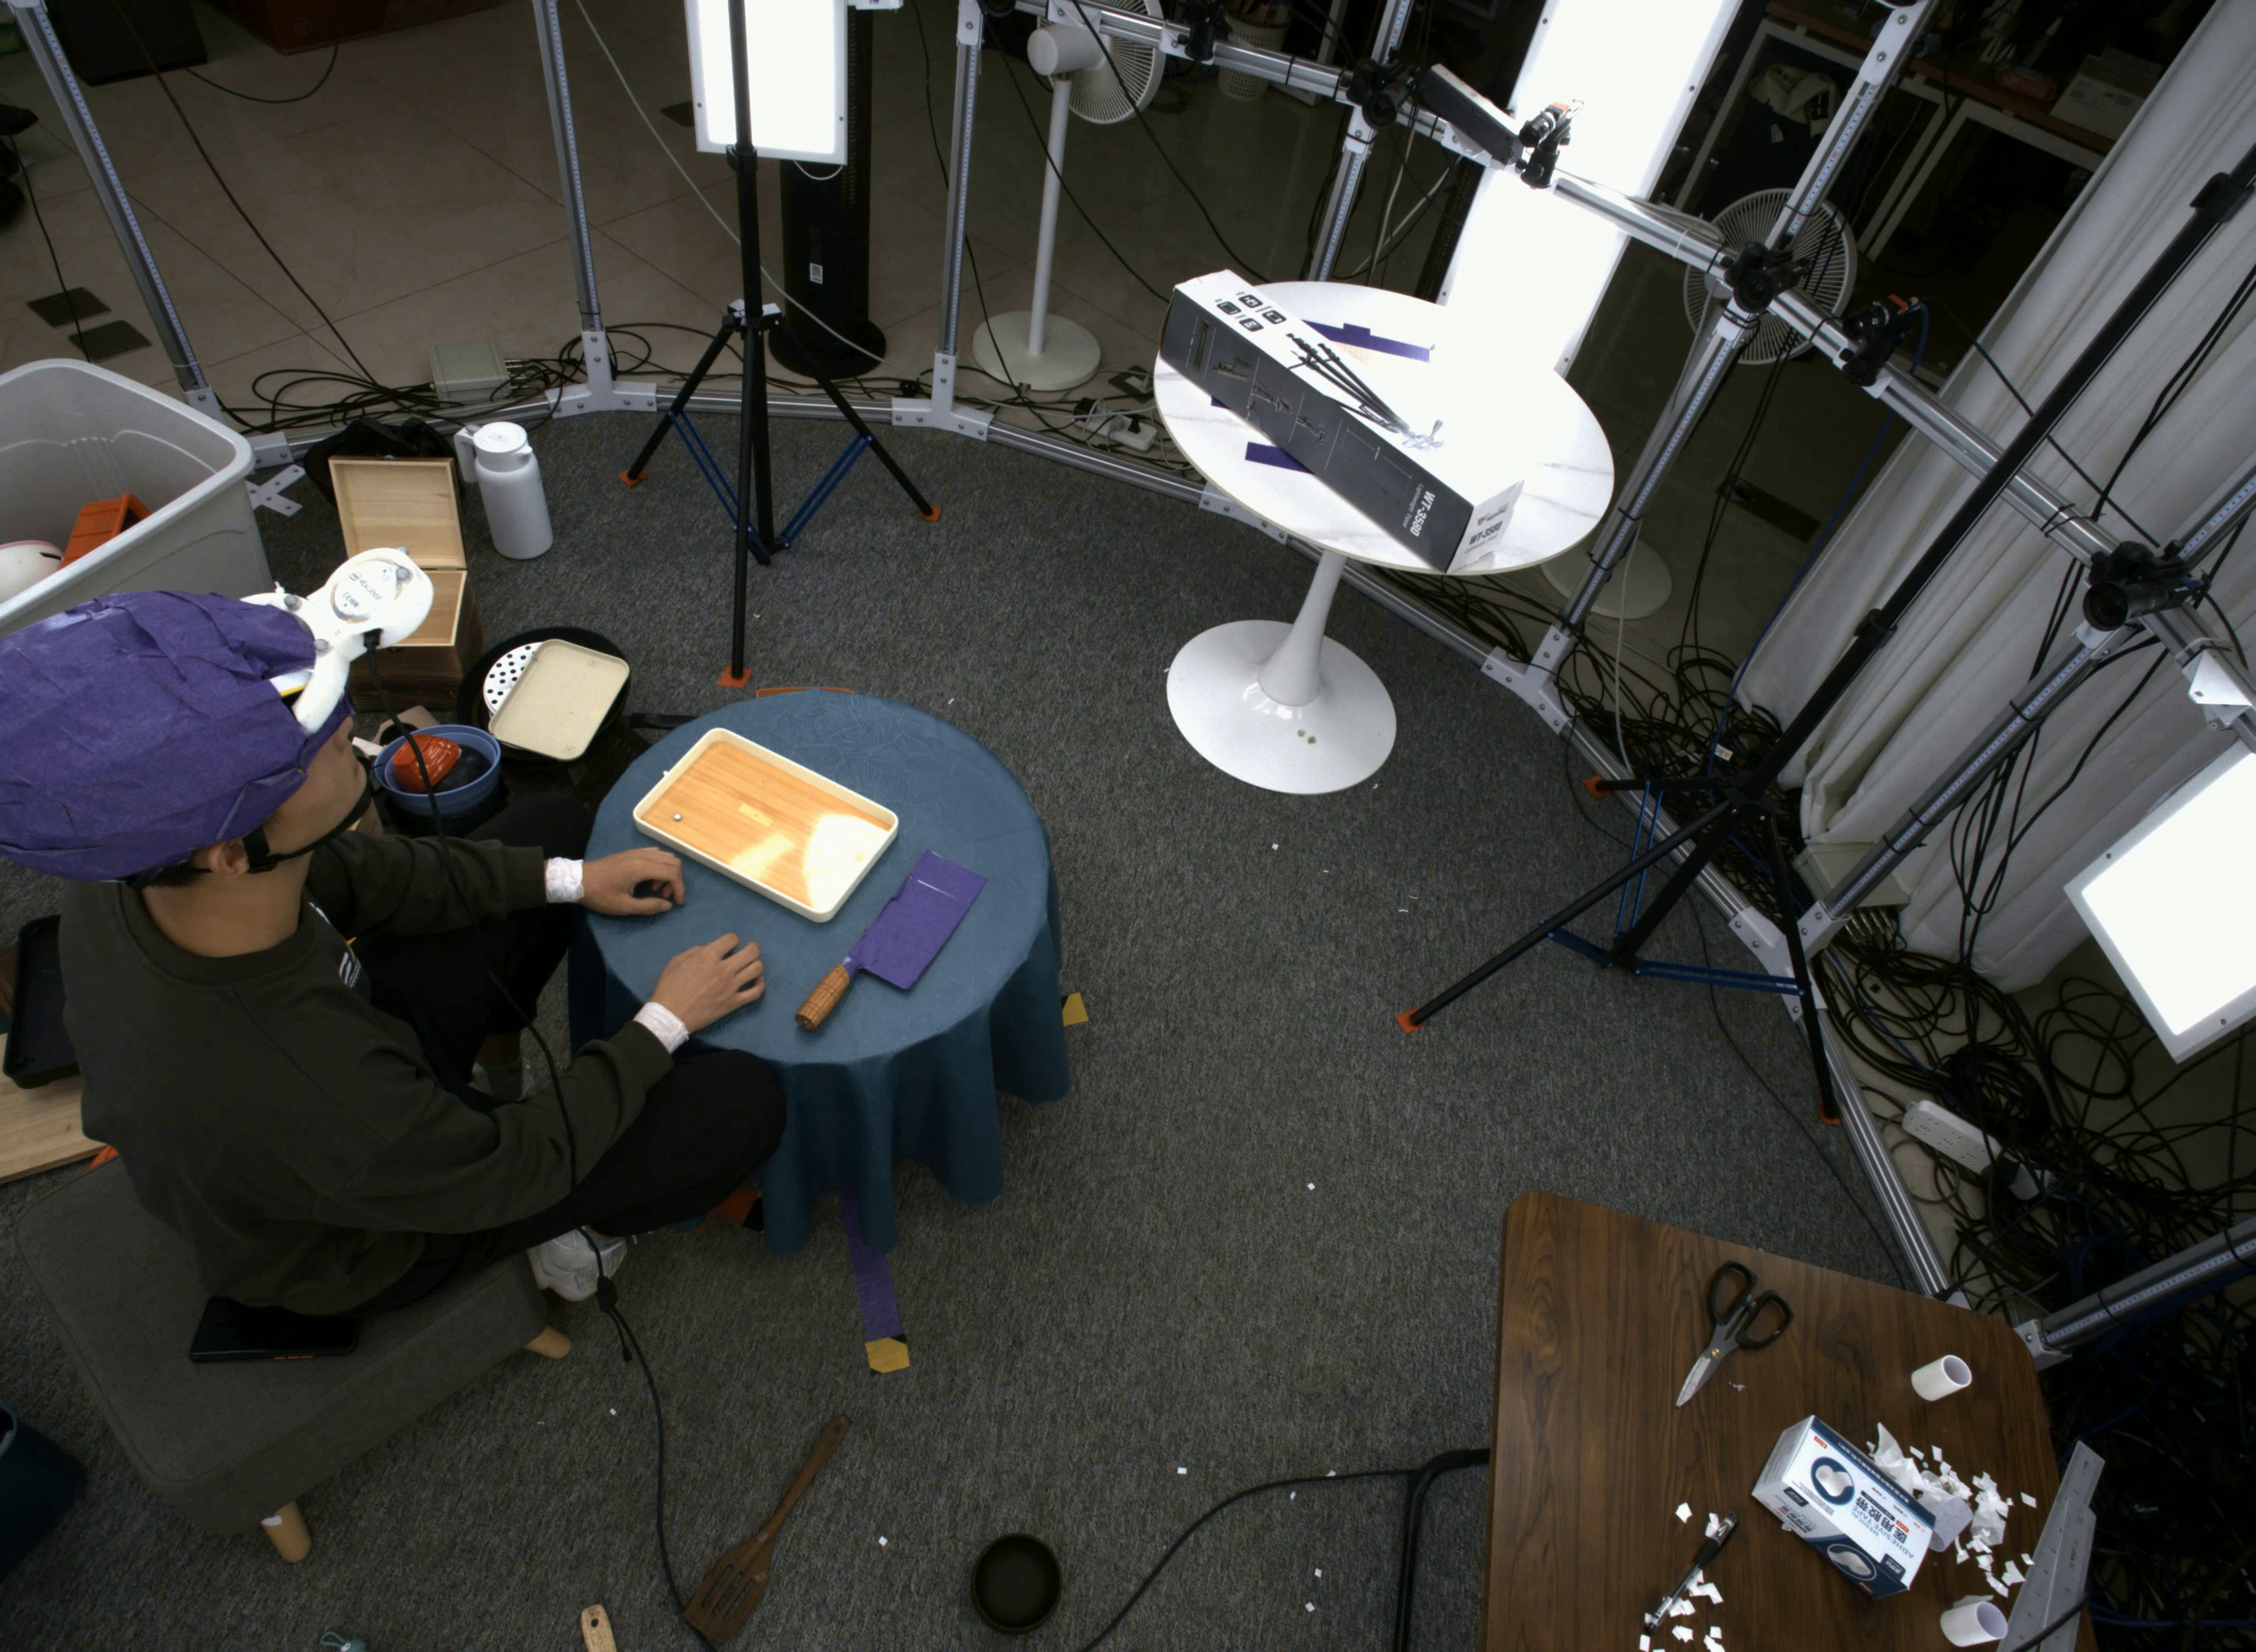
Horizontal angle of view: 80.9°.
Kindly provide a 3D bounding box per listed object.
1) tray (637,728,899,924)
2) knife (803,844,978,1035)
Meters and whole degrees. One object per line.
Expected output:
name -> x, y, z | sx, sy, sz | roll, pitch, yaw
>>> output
tray -> -0.474, -0.005, 1.709 | 0.296, 0.028, 0.190 | 26, 53, 5
knife -> -0.291, 0.145, 1.644 | 0.102, 0.033, 0.313 | 25, 52, 6
